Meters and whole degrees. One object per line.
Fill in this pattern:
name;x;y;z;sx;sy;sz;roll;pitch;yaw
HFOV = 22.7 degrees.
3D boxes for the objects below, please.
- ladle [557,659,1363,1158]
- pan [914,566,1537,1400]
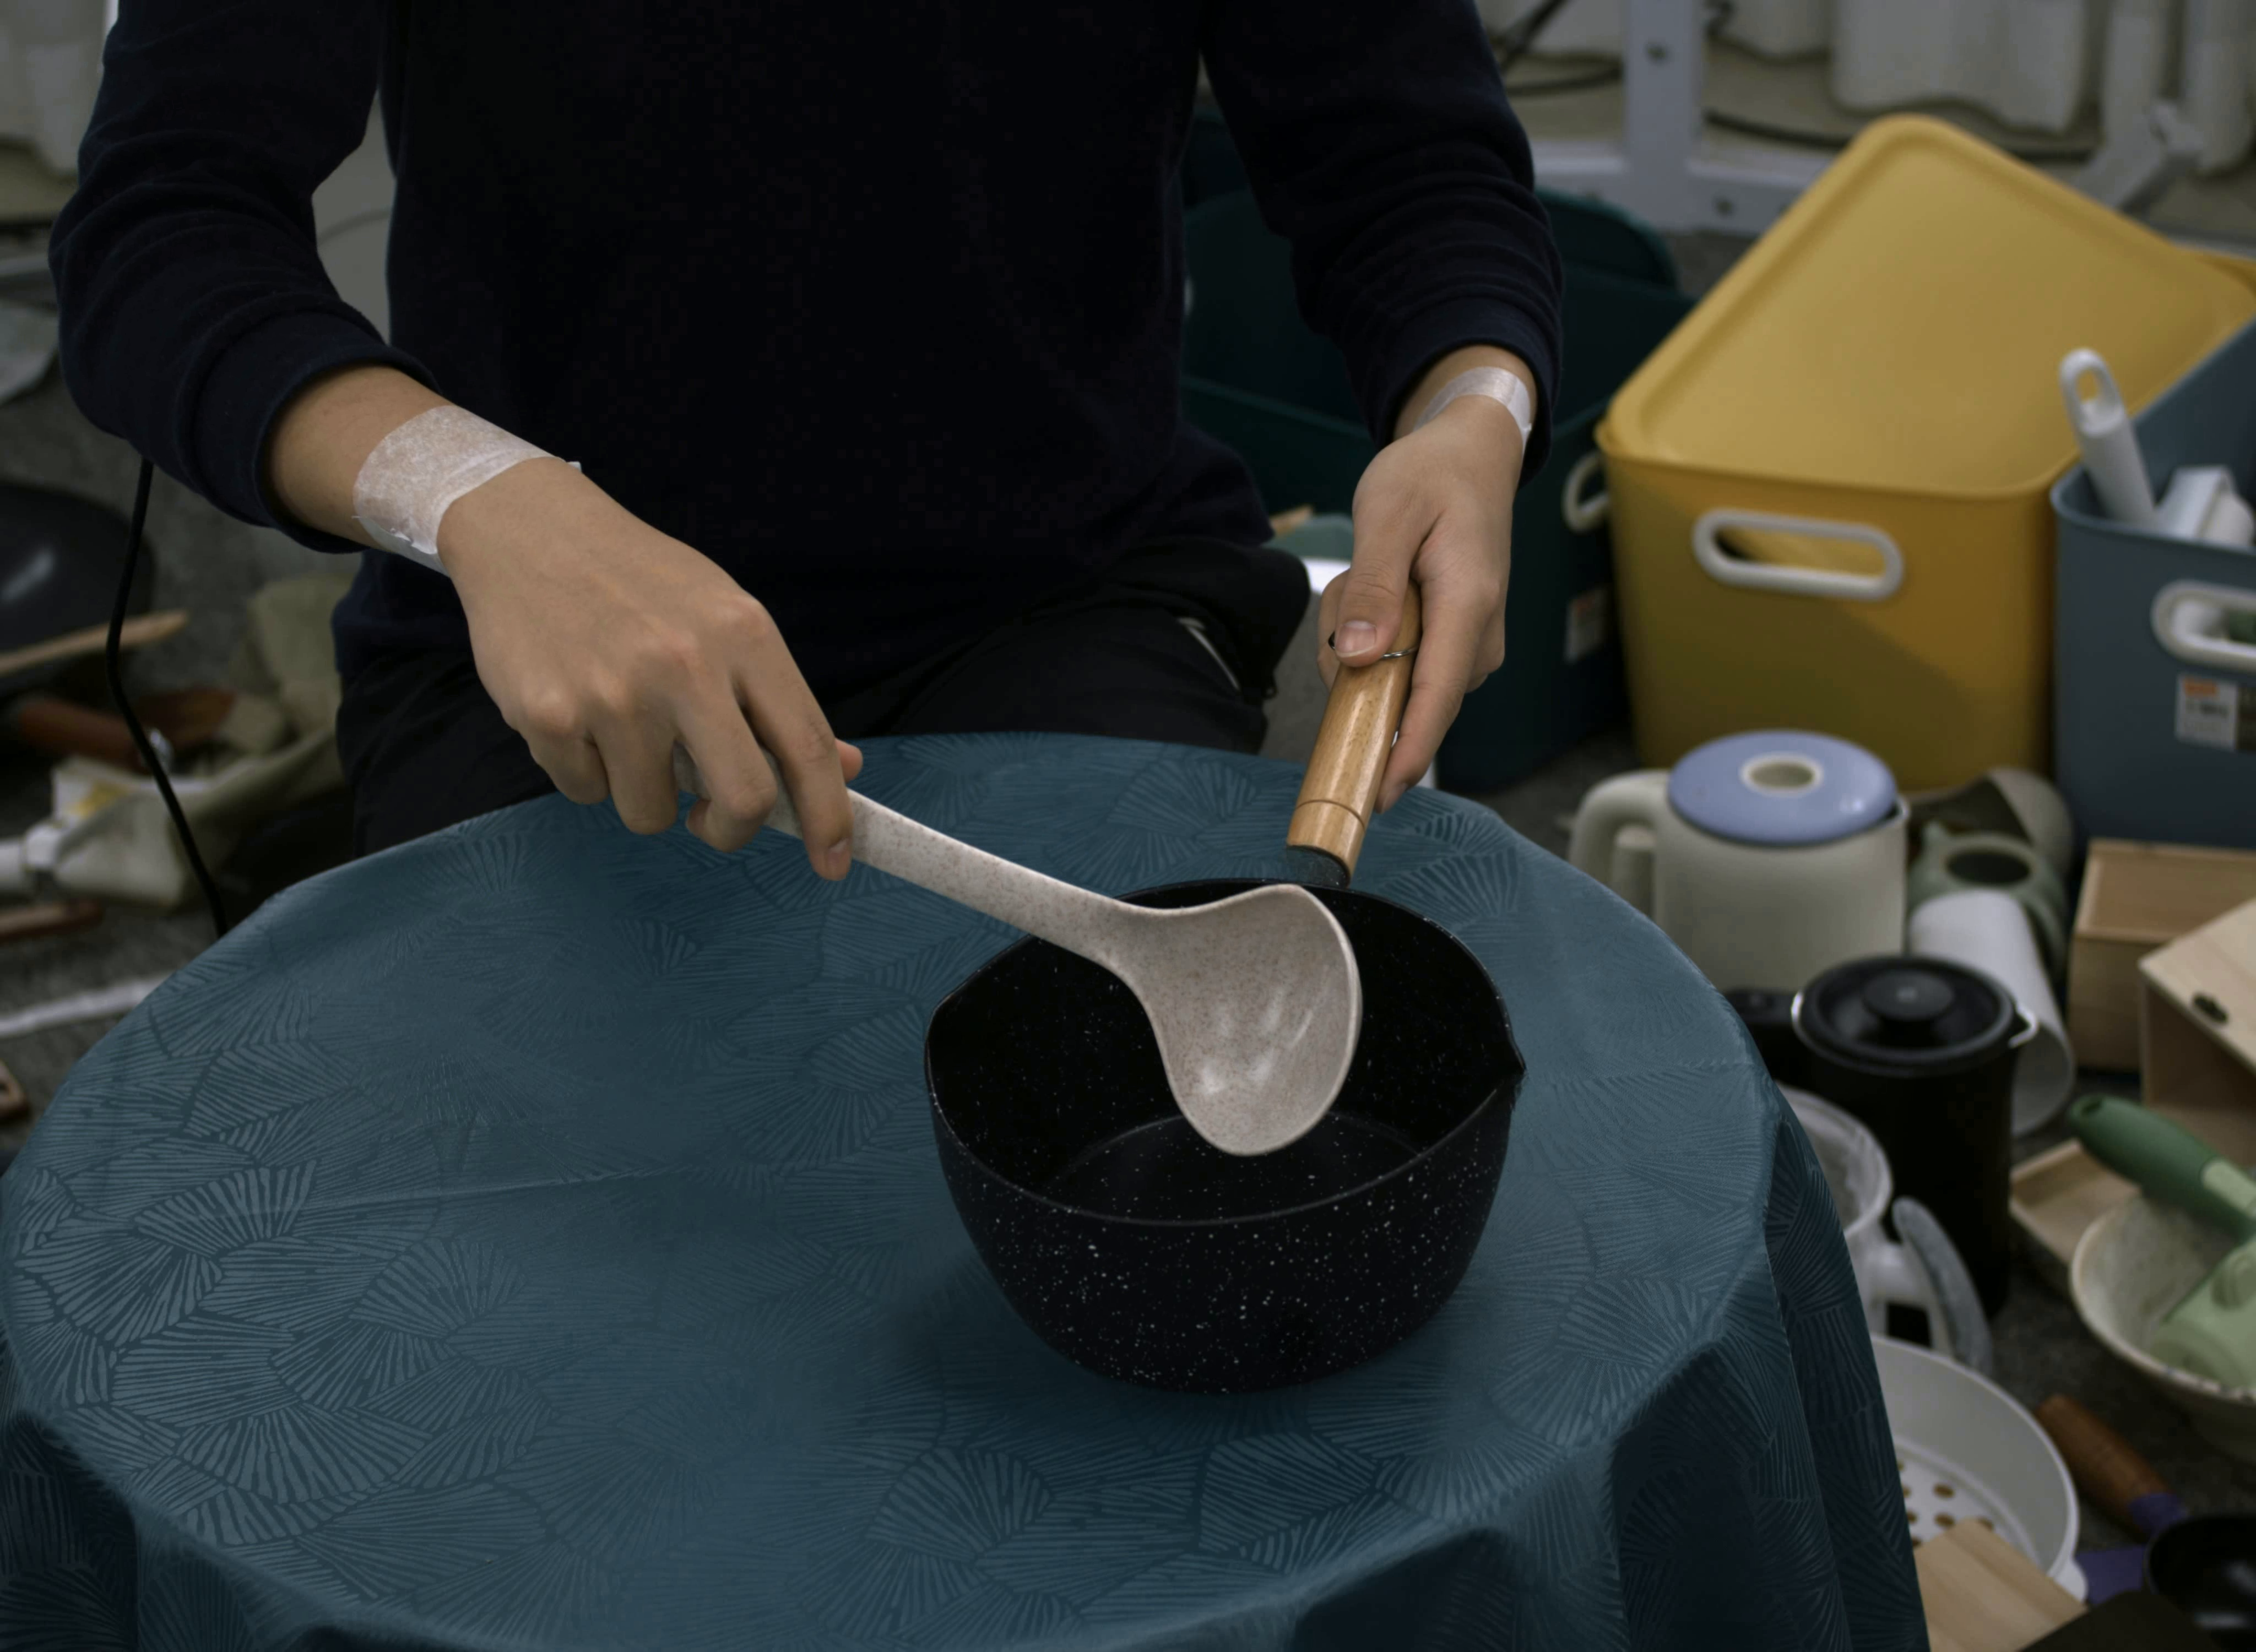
ladle;-0.055;0.019;1.762;0.274;0.088;0.070;23;25;-8
pan;0.051;0.049;1.850;0.206;0.107;0.349;3;35;16
